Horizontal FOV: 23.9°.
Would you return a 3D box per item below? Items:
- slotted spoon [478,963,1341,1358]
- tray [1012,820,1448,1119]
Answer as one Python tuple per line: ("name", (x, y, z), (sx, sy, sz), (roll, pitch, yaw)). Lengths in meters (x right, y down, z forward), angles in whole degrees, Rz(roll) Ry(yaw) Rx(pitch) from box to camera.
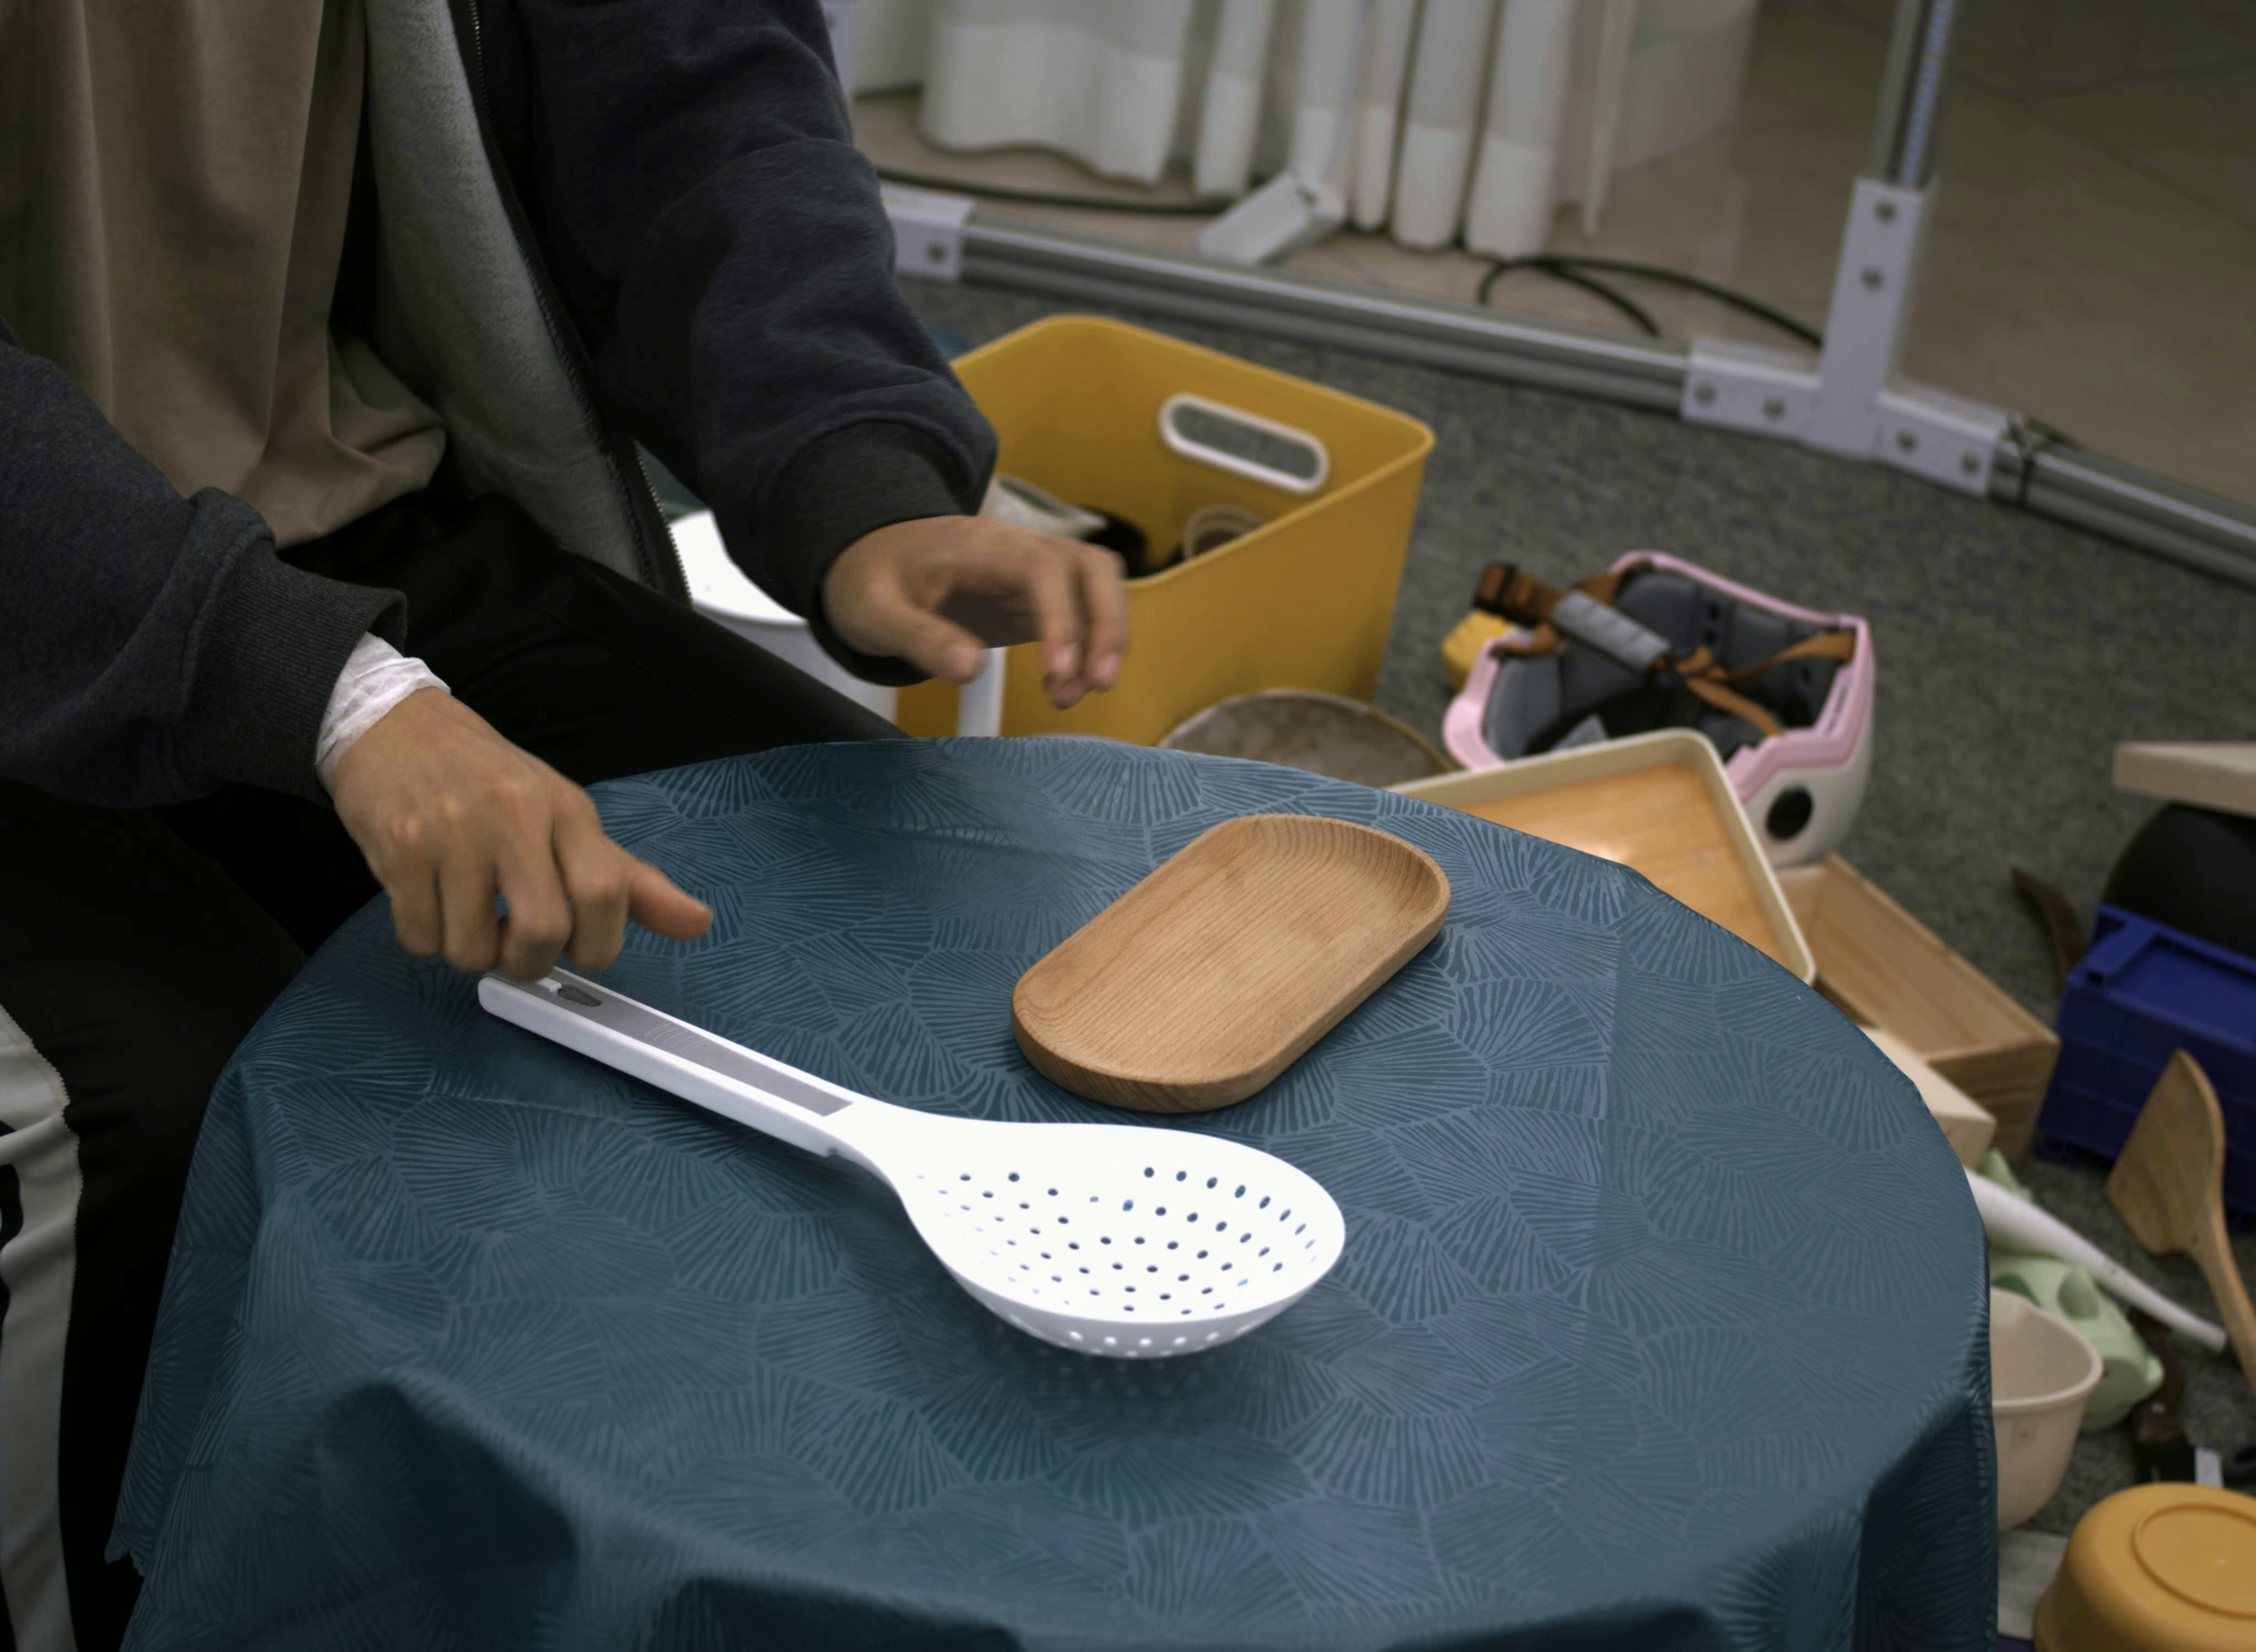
("slotted spoon", (-0.085, 0.104, 1.770), (0.352, 0.045, 0.135), (24, 30, 32))
("tray", (0.039, 0.050, 1.936), (0.102, 0.020, 0.231), (17, 30, 22))
